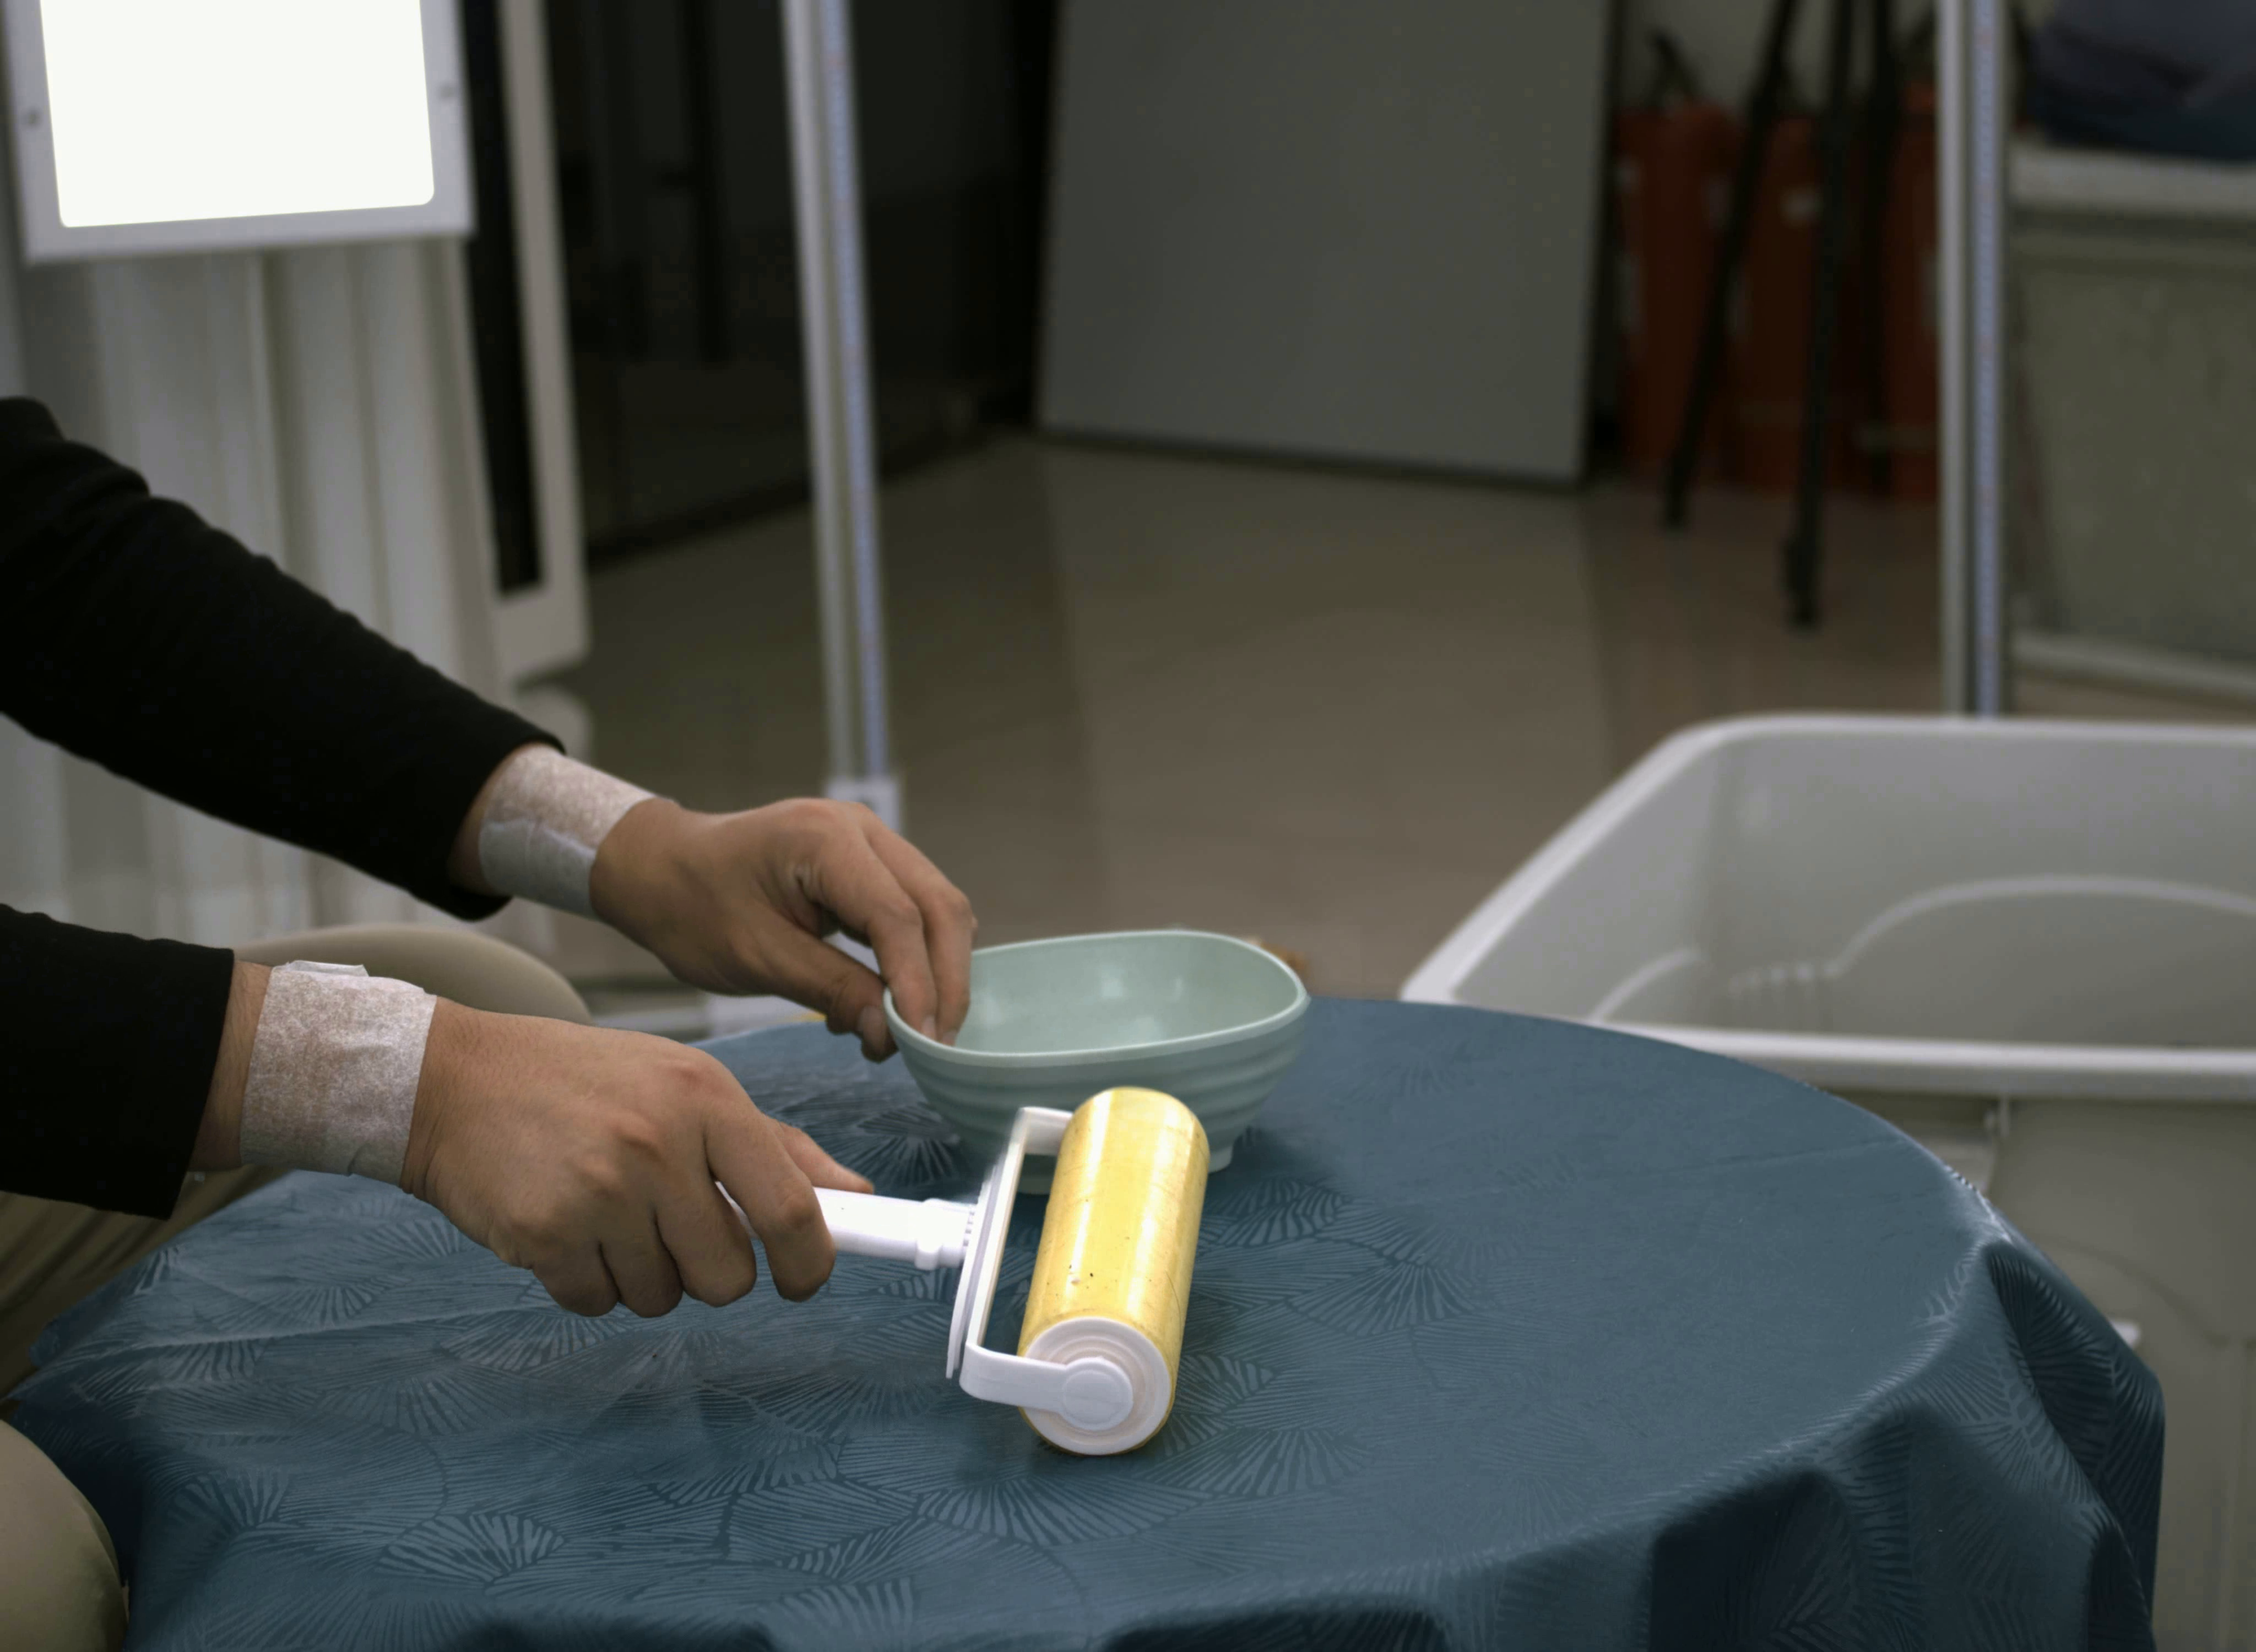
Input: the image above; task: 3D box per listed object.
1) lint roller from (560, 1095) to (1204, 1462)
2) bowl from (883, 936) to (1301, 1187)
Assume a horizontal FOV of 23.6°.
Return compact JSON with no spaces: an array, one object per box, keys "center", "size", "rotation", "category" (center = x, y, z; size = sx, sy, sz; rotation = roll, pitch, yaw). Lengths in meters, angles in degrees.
[{"center":[-0.071,0.112,1.598],"size":[0.190,0.052,0.174],"rotation":[18,20,-3],"category":"lint roller"},{"center":[-0.012,0.084,1.806],"size":[0.149,0.059,0.152],"rotation":[-2,14,0],"category":"bowl"}]
